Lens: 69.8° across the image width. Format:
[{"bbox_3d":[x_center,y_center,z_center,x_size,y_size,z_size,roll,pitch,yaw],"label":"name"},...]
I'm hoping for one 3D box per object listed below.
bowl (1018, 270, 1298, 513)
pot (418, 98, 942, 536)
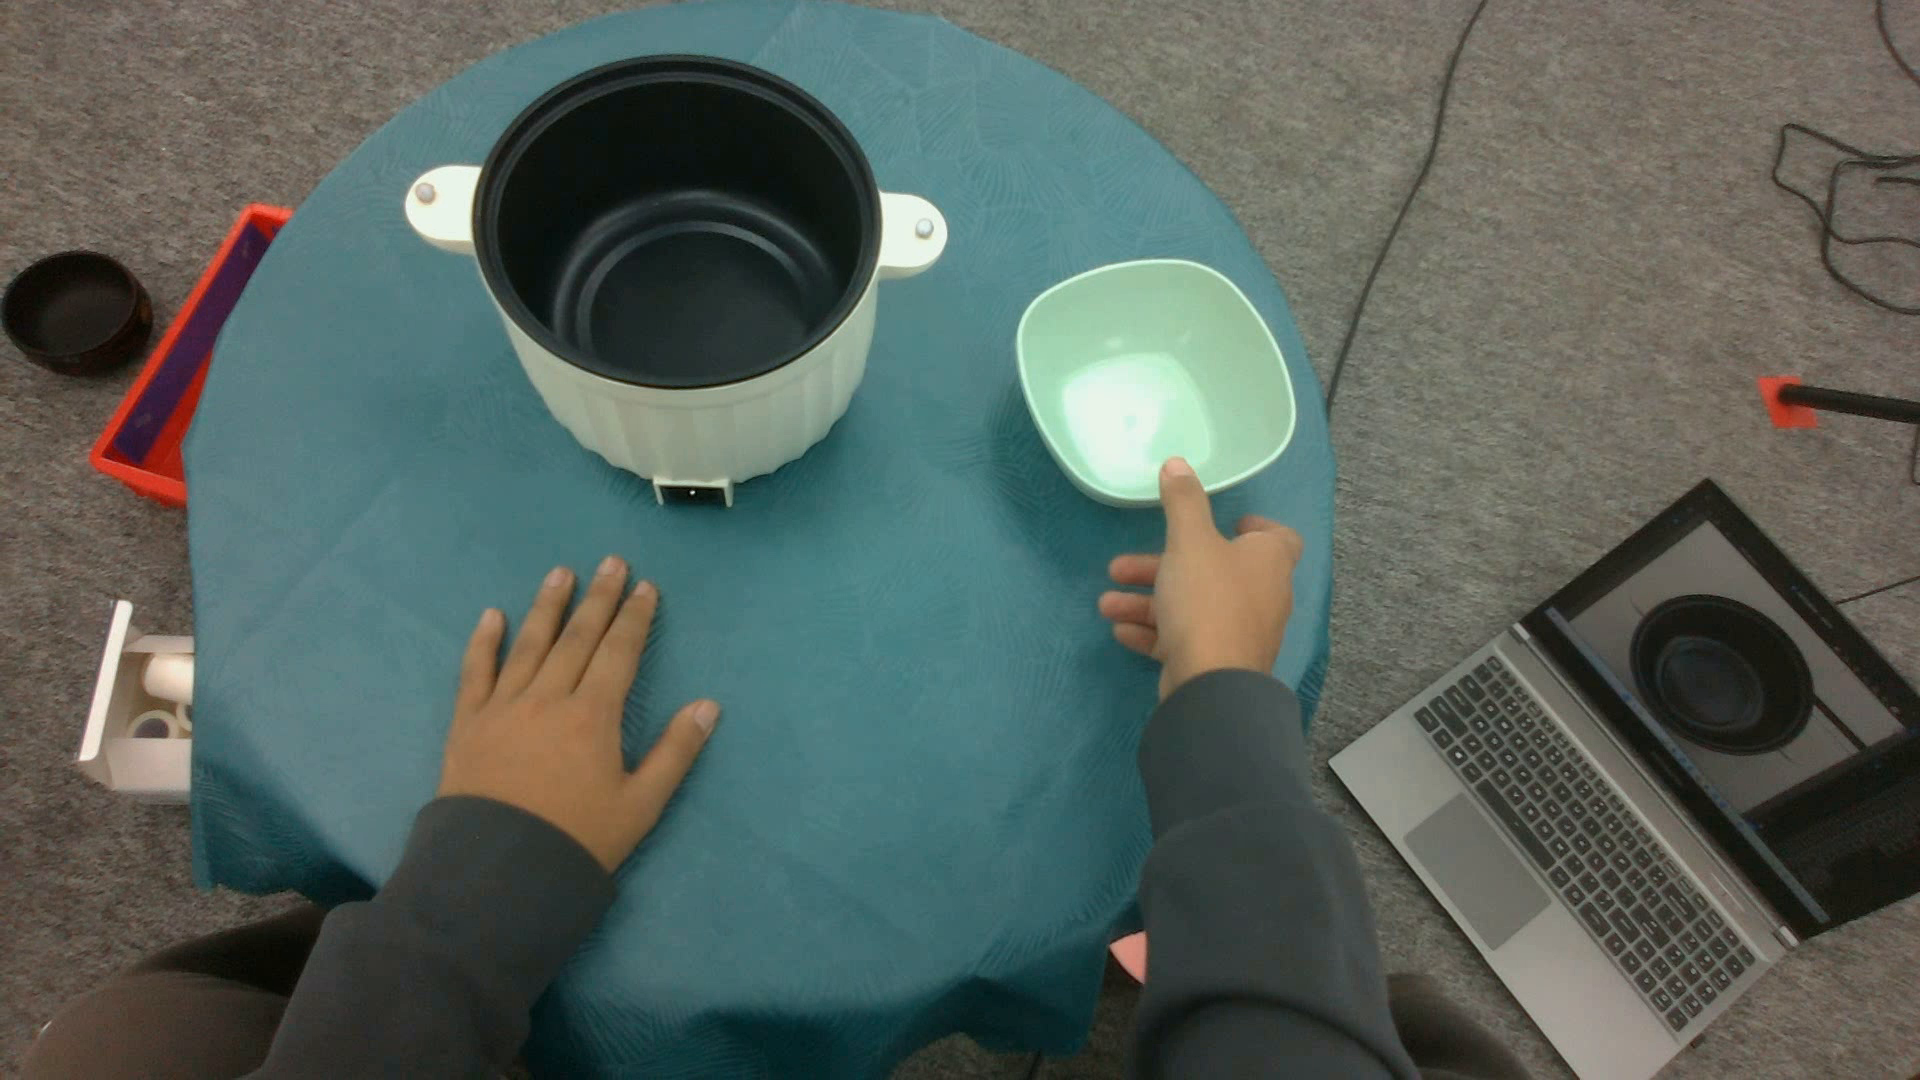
[{"bbox_3d":[0.102,-0.070,0.742,0.151,0.058,0.152,1,64,-3],"label":"bowl"},{"bbox_3d":[-0.134,-0.112,0.699,0.240,0.142,0.191,-2,69,-7],"label":"pot"}]
